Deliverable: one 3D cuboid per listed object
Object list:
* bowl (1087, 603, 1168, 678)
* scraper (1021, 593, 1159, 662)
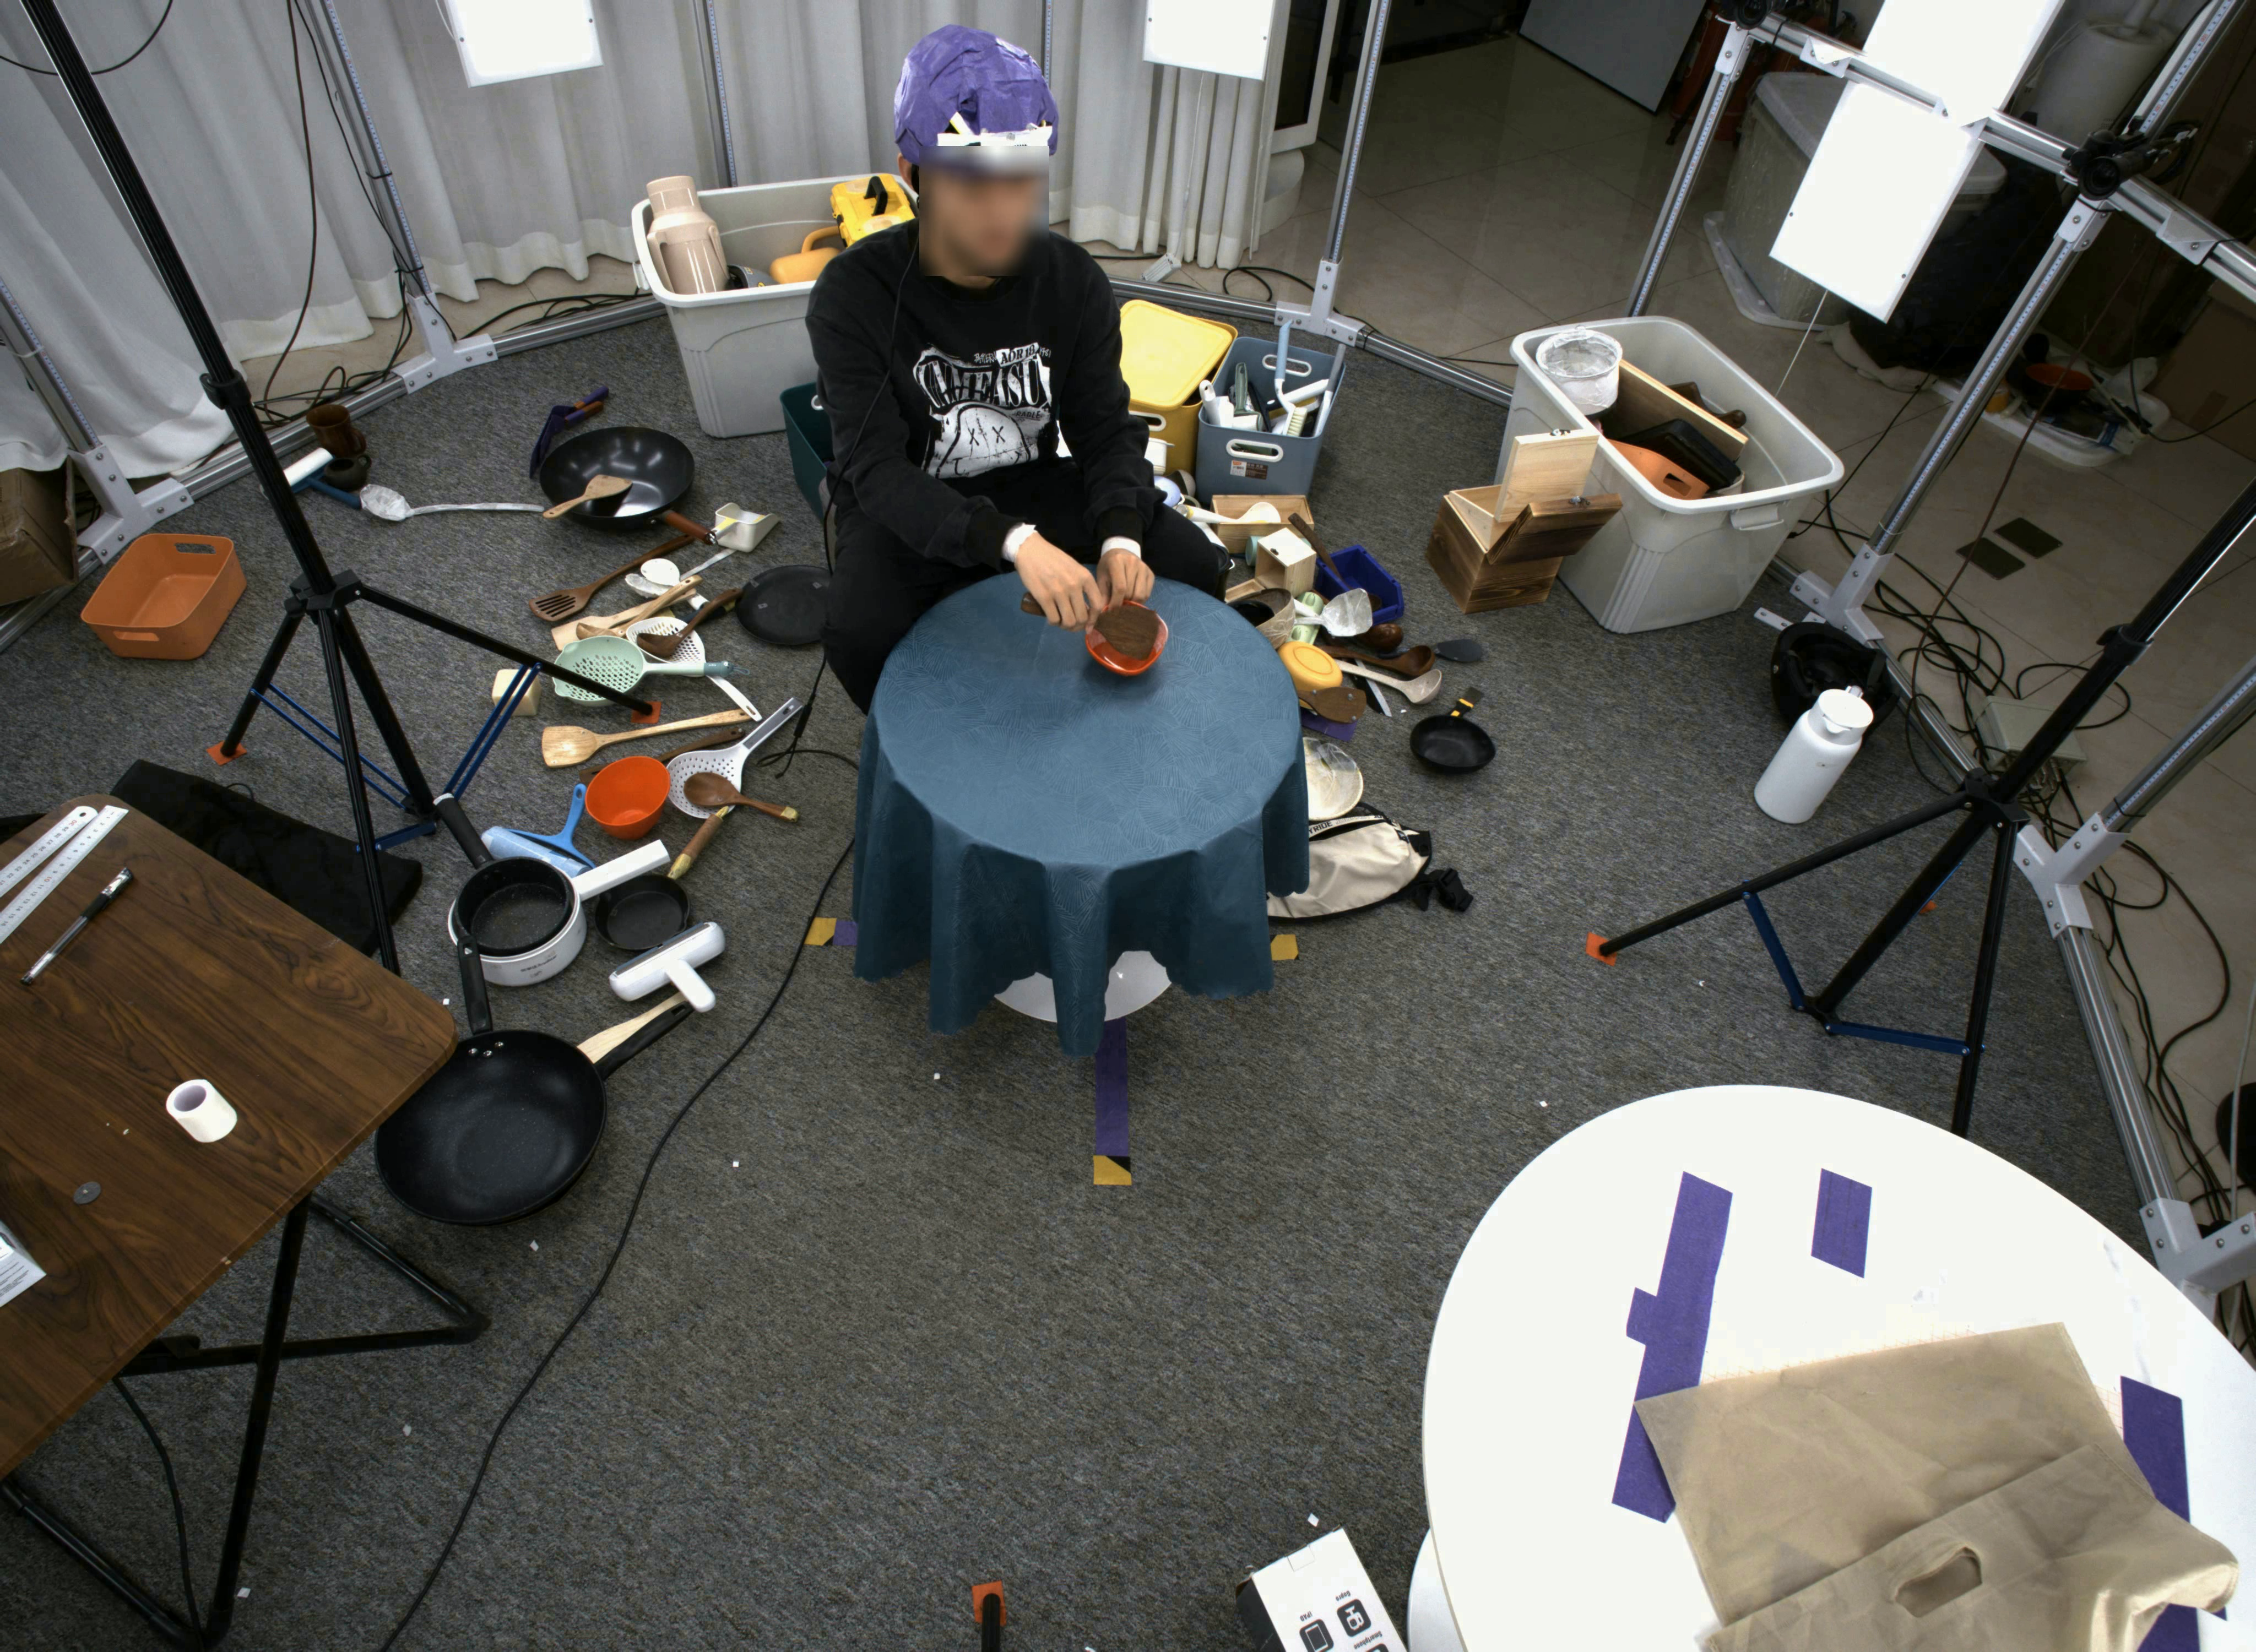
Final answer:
[{"bbox_3d":[-0.001,-0.262,1.869,0.119,0.050,0.121,0,67,0],"label":"bowl"},{"bbox_3d":[-0.053,-0.288,1.801,0.209,0.075,0.011,11,7,-28],"label":"scraper"}]
